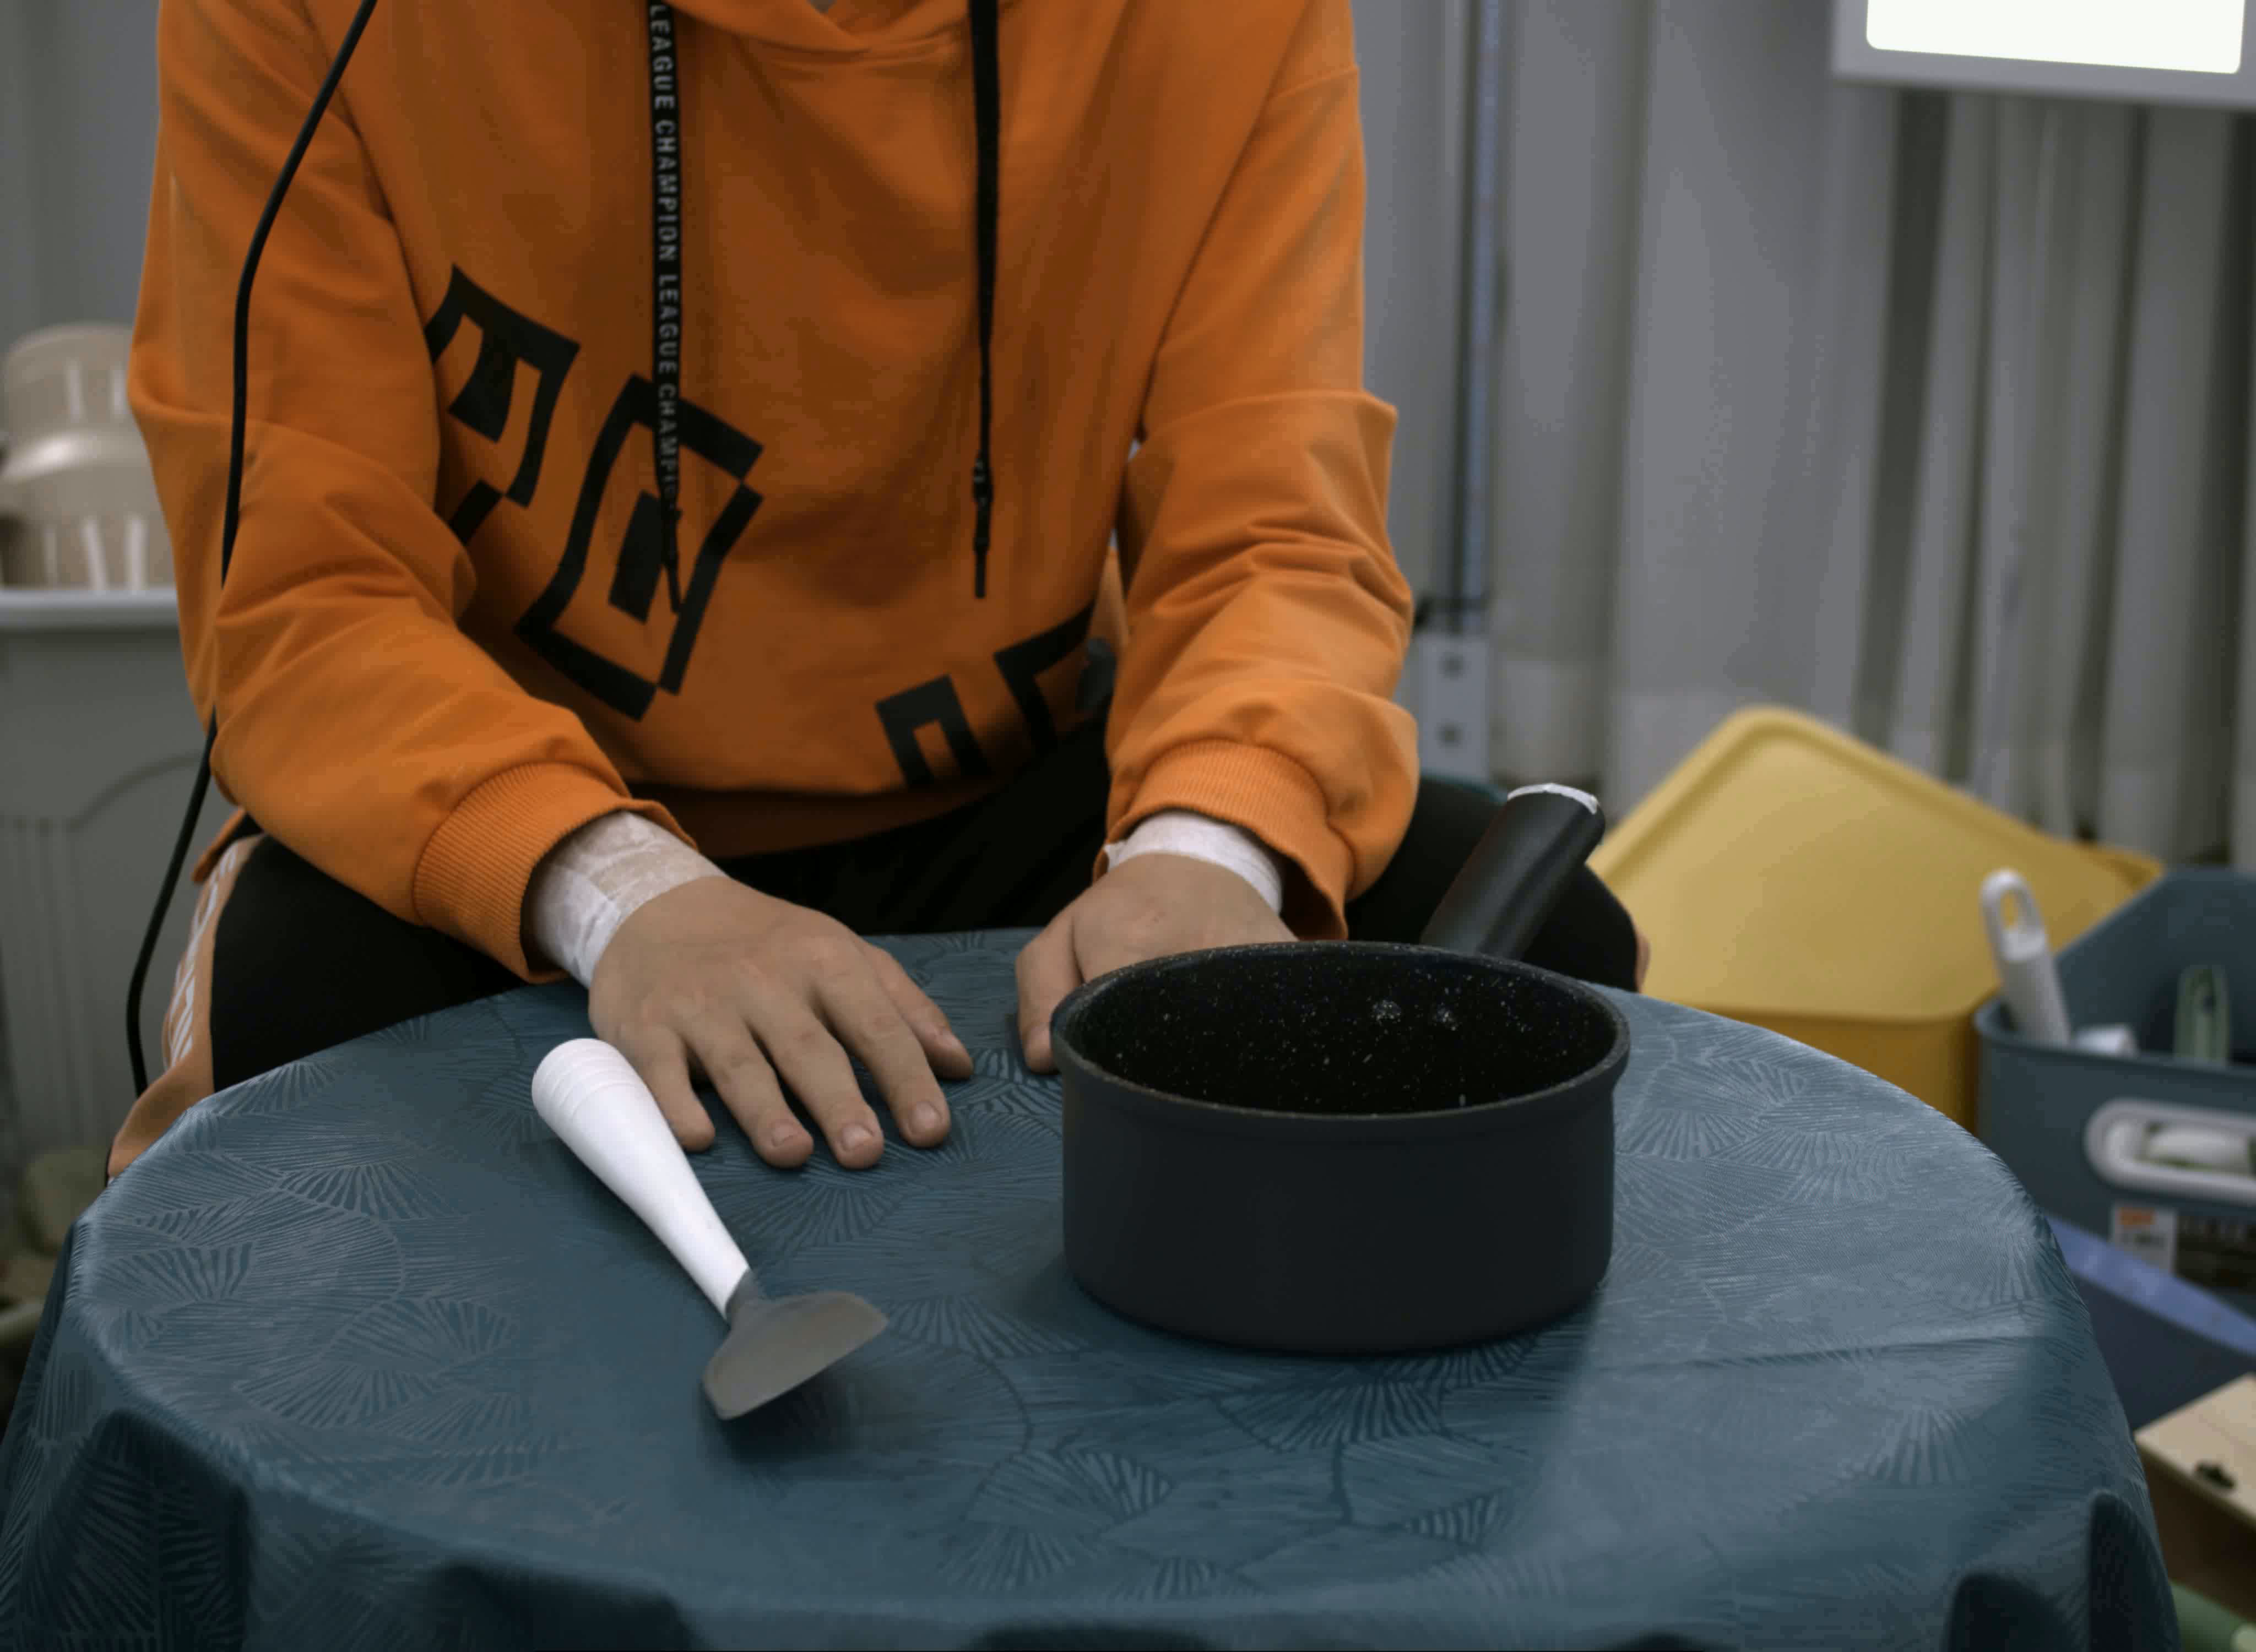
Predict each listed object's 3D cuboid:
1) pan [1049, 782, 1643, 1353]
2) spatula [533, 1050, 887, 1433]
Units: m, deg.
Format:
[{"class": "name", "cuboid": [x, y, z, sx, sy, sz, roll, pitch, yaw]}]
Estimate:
[{"class": "pan", "cuboid": [0.092, 0.070, 1.620, 0.170, 0.087, 0.329, 8, 19, 21]}, {"class": "spatula", "cuboid": [-0.126, 0.120, 1.533, 0.058, 0.032, 0.284, -27, 21, -11]}]
